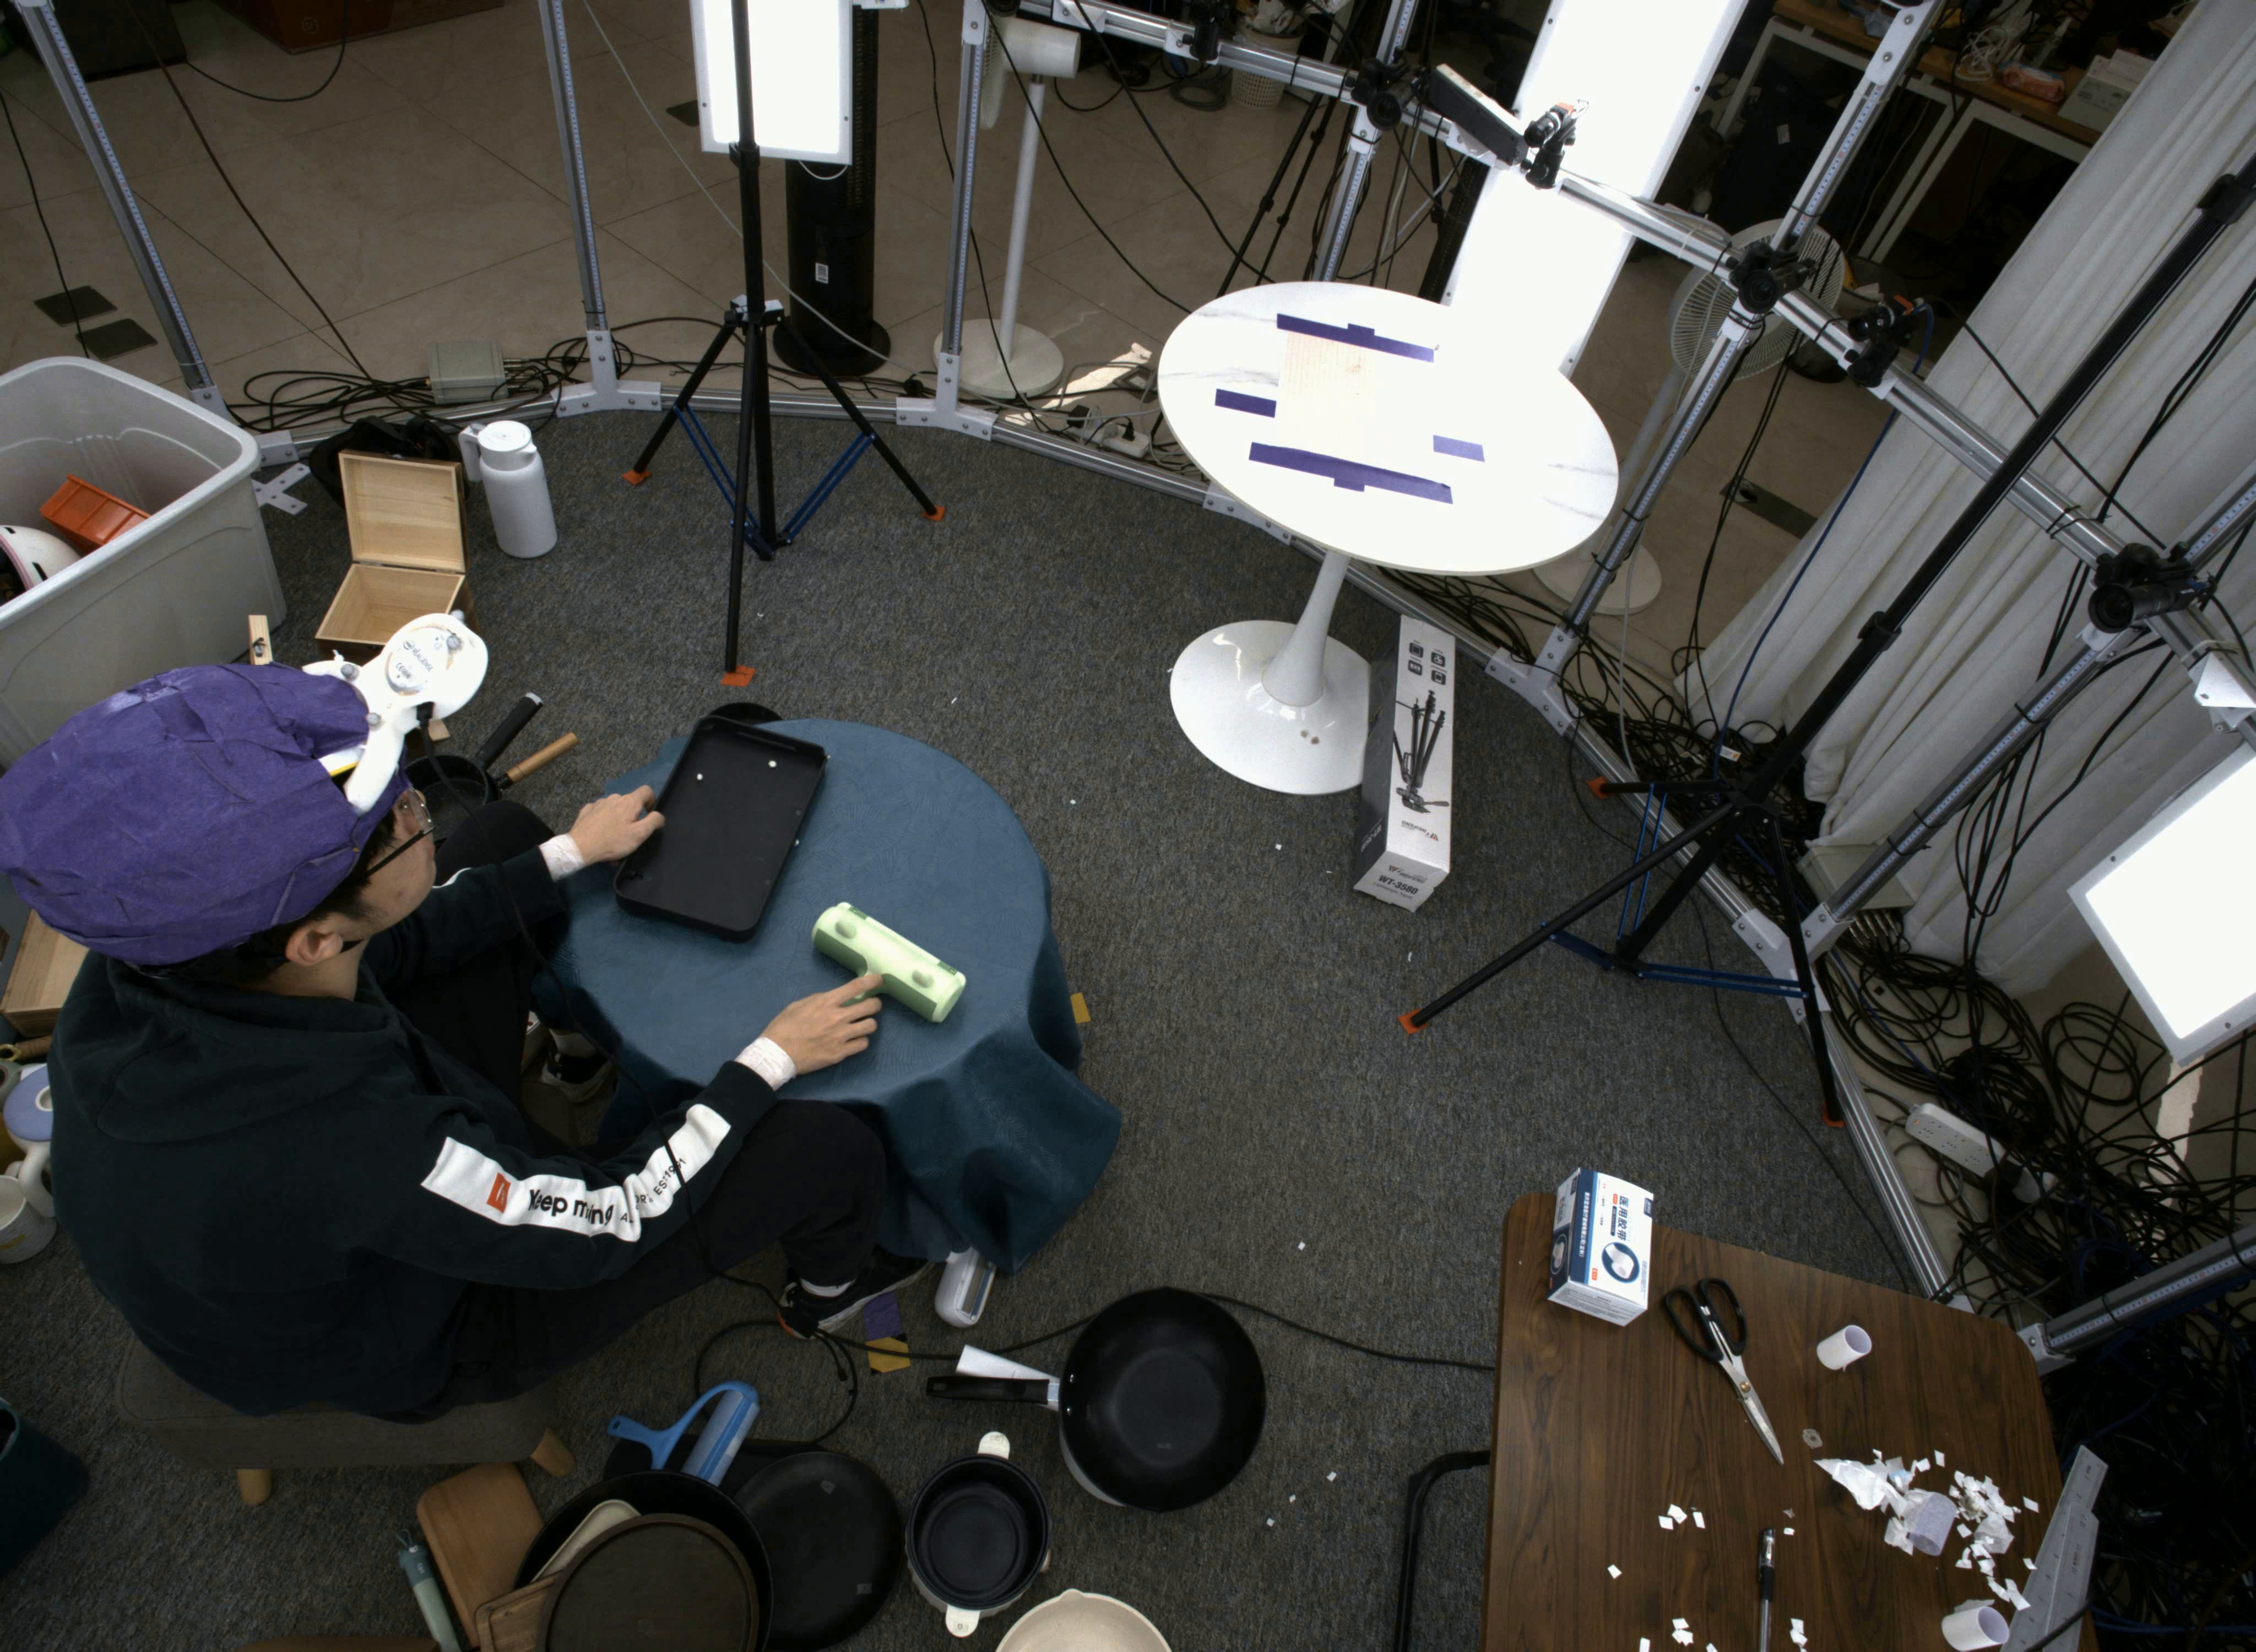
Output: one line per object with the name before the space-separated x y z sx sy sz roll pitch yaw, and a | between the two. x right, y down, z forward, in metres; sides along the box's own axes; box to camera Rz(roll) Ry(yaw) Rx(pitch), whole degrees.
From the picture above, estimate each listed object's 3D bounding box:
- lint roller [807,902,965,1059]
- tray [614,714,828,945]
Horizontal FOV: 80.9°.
lint roller | -0.324 0.195 1.562 0.195 0.084 0.183 31 50 9
tray | -0.522 -0.003 1.675 0.184 0.037 0.313 18 51 -6
